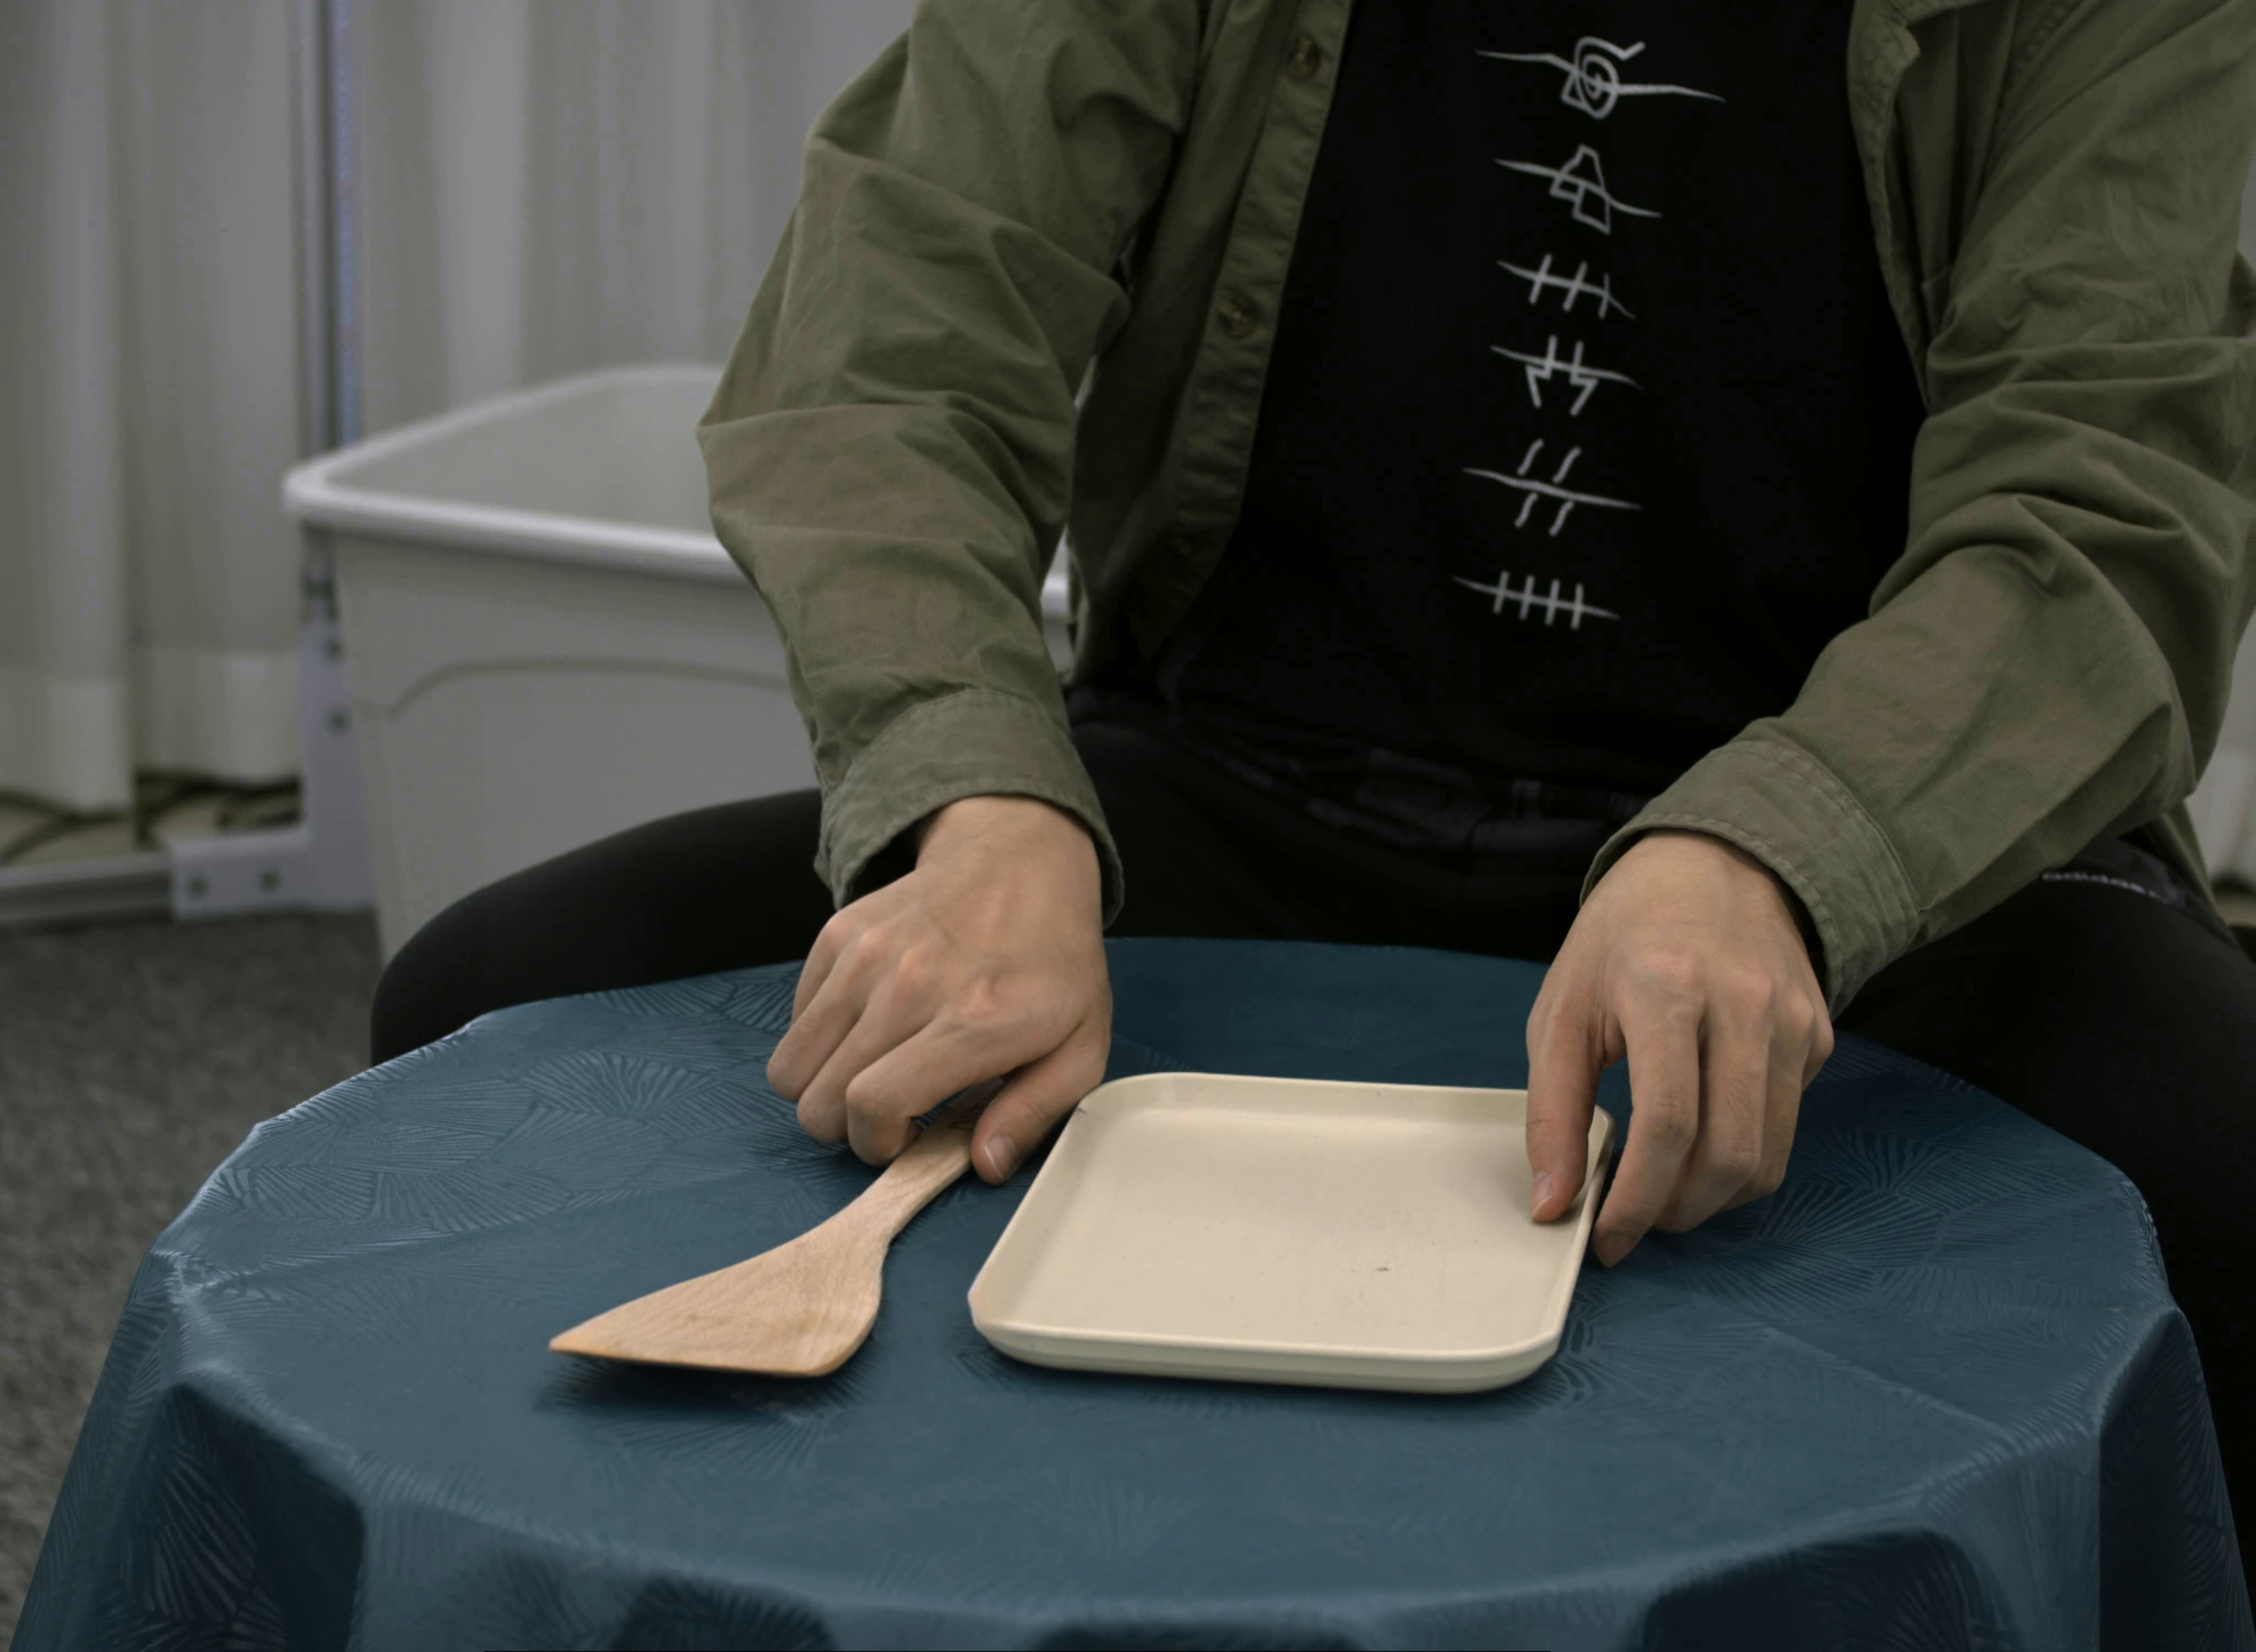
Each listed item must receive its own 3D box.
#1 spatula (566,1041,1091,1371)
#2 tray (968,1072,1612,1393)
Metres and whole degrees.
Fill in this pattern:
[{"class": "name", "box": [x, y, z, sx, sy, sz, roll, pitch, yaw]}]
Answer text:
[{"class": "spatula", "box": [-0.071, 0.112, 1.598, 0.079, 0.016, 0.327, 6, 17, 17]}, {"class": "tray", "box": [0.053, 0.120, 1.572, 0.170, 0.017, 0.239, 4, 15, 9]}]
